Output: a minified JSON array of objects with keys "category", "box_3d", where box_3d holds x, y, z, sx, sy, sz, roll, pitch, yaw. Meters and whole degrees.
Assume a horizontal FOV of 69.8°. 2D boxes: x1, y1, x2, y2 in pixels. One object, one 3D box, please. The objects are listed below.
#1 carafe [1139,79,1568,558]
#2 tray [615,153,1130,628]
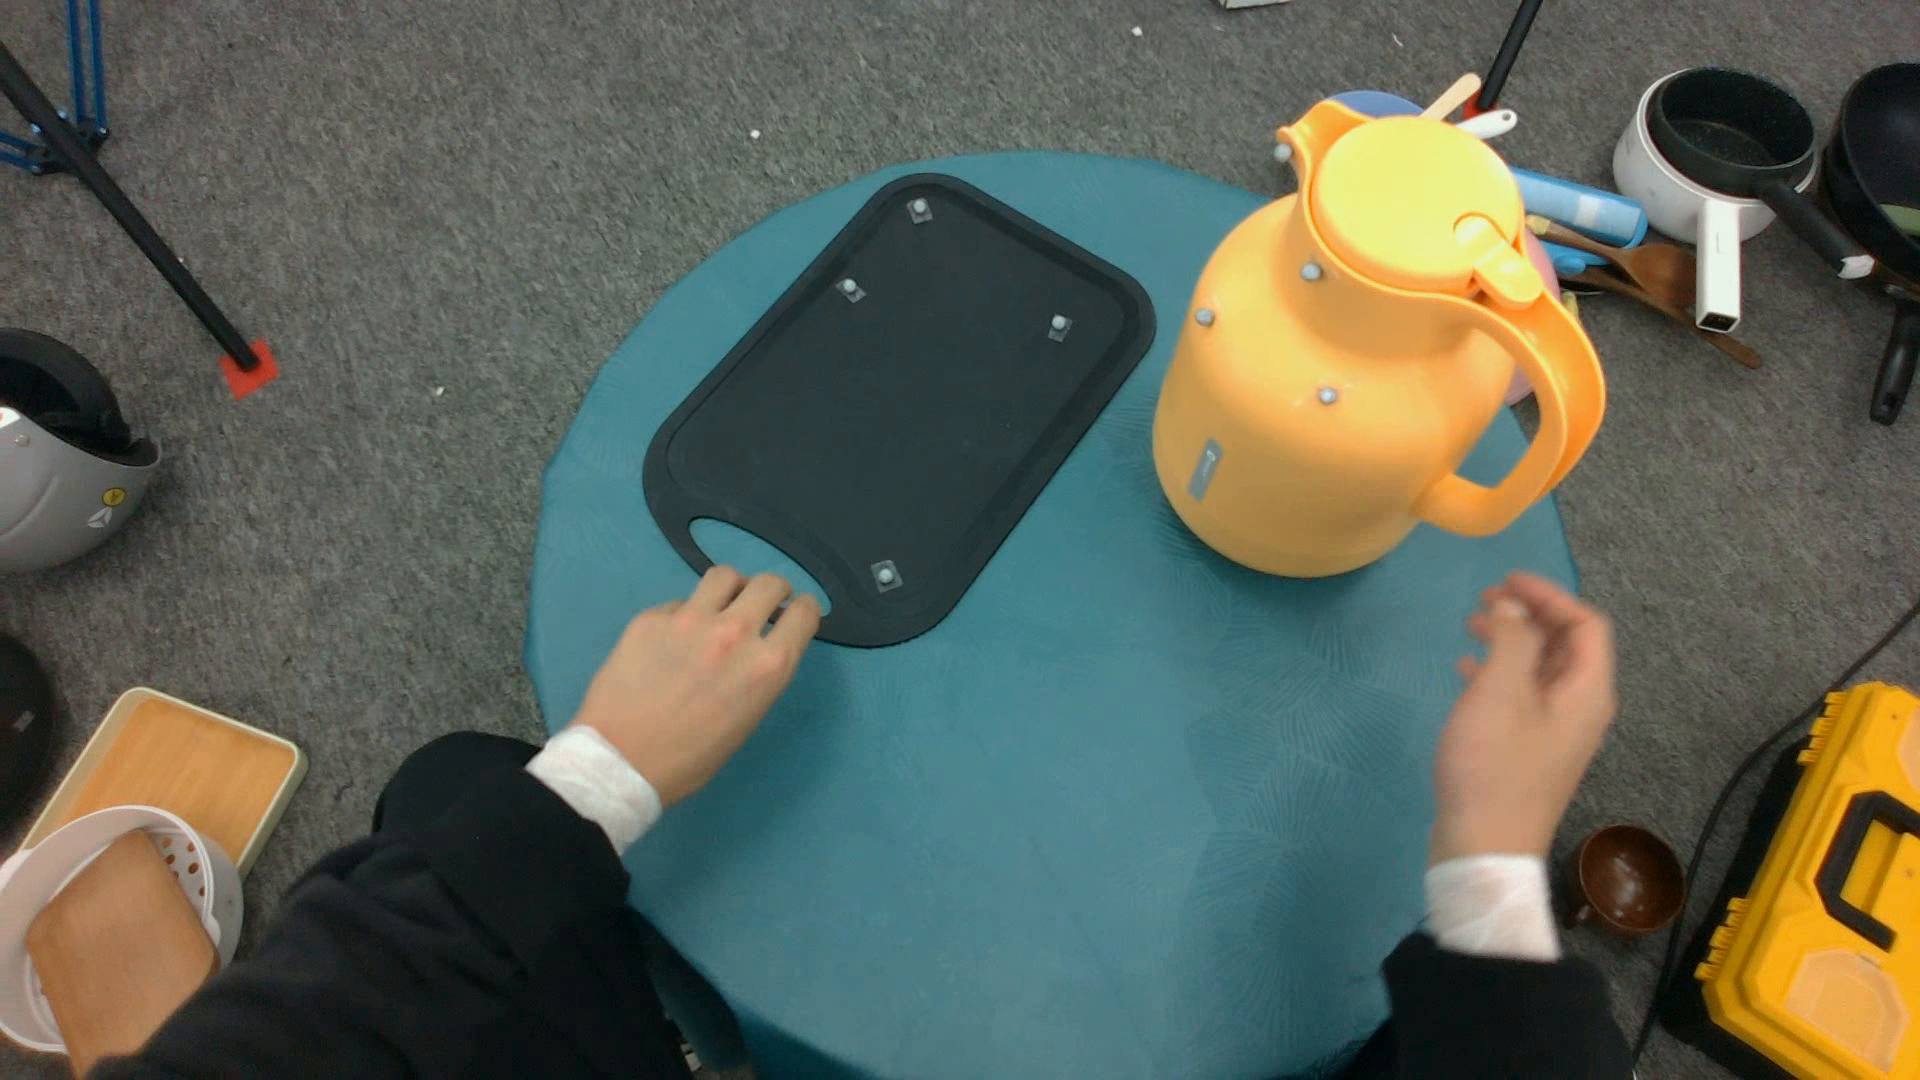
[{"category":"carafe","box_3d":[0.194,-0.093,0.699,0.164,0.259,0.202,-33,68,-14]},{"category":"tray","box_3d":[-0.051,-0.098,0.830,0.211,0.010,0.326,32,67,12]}]
